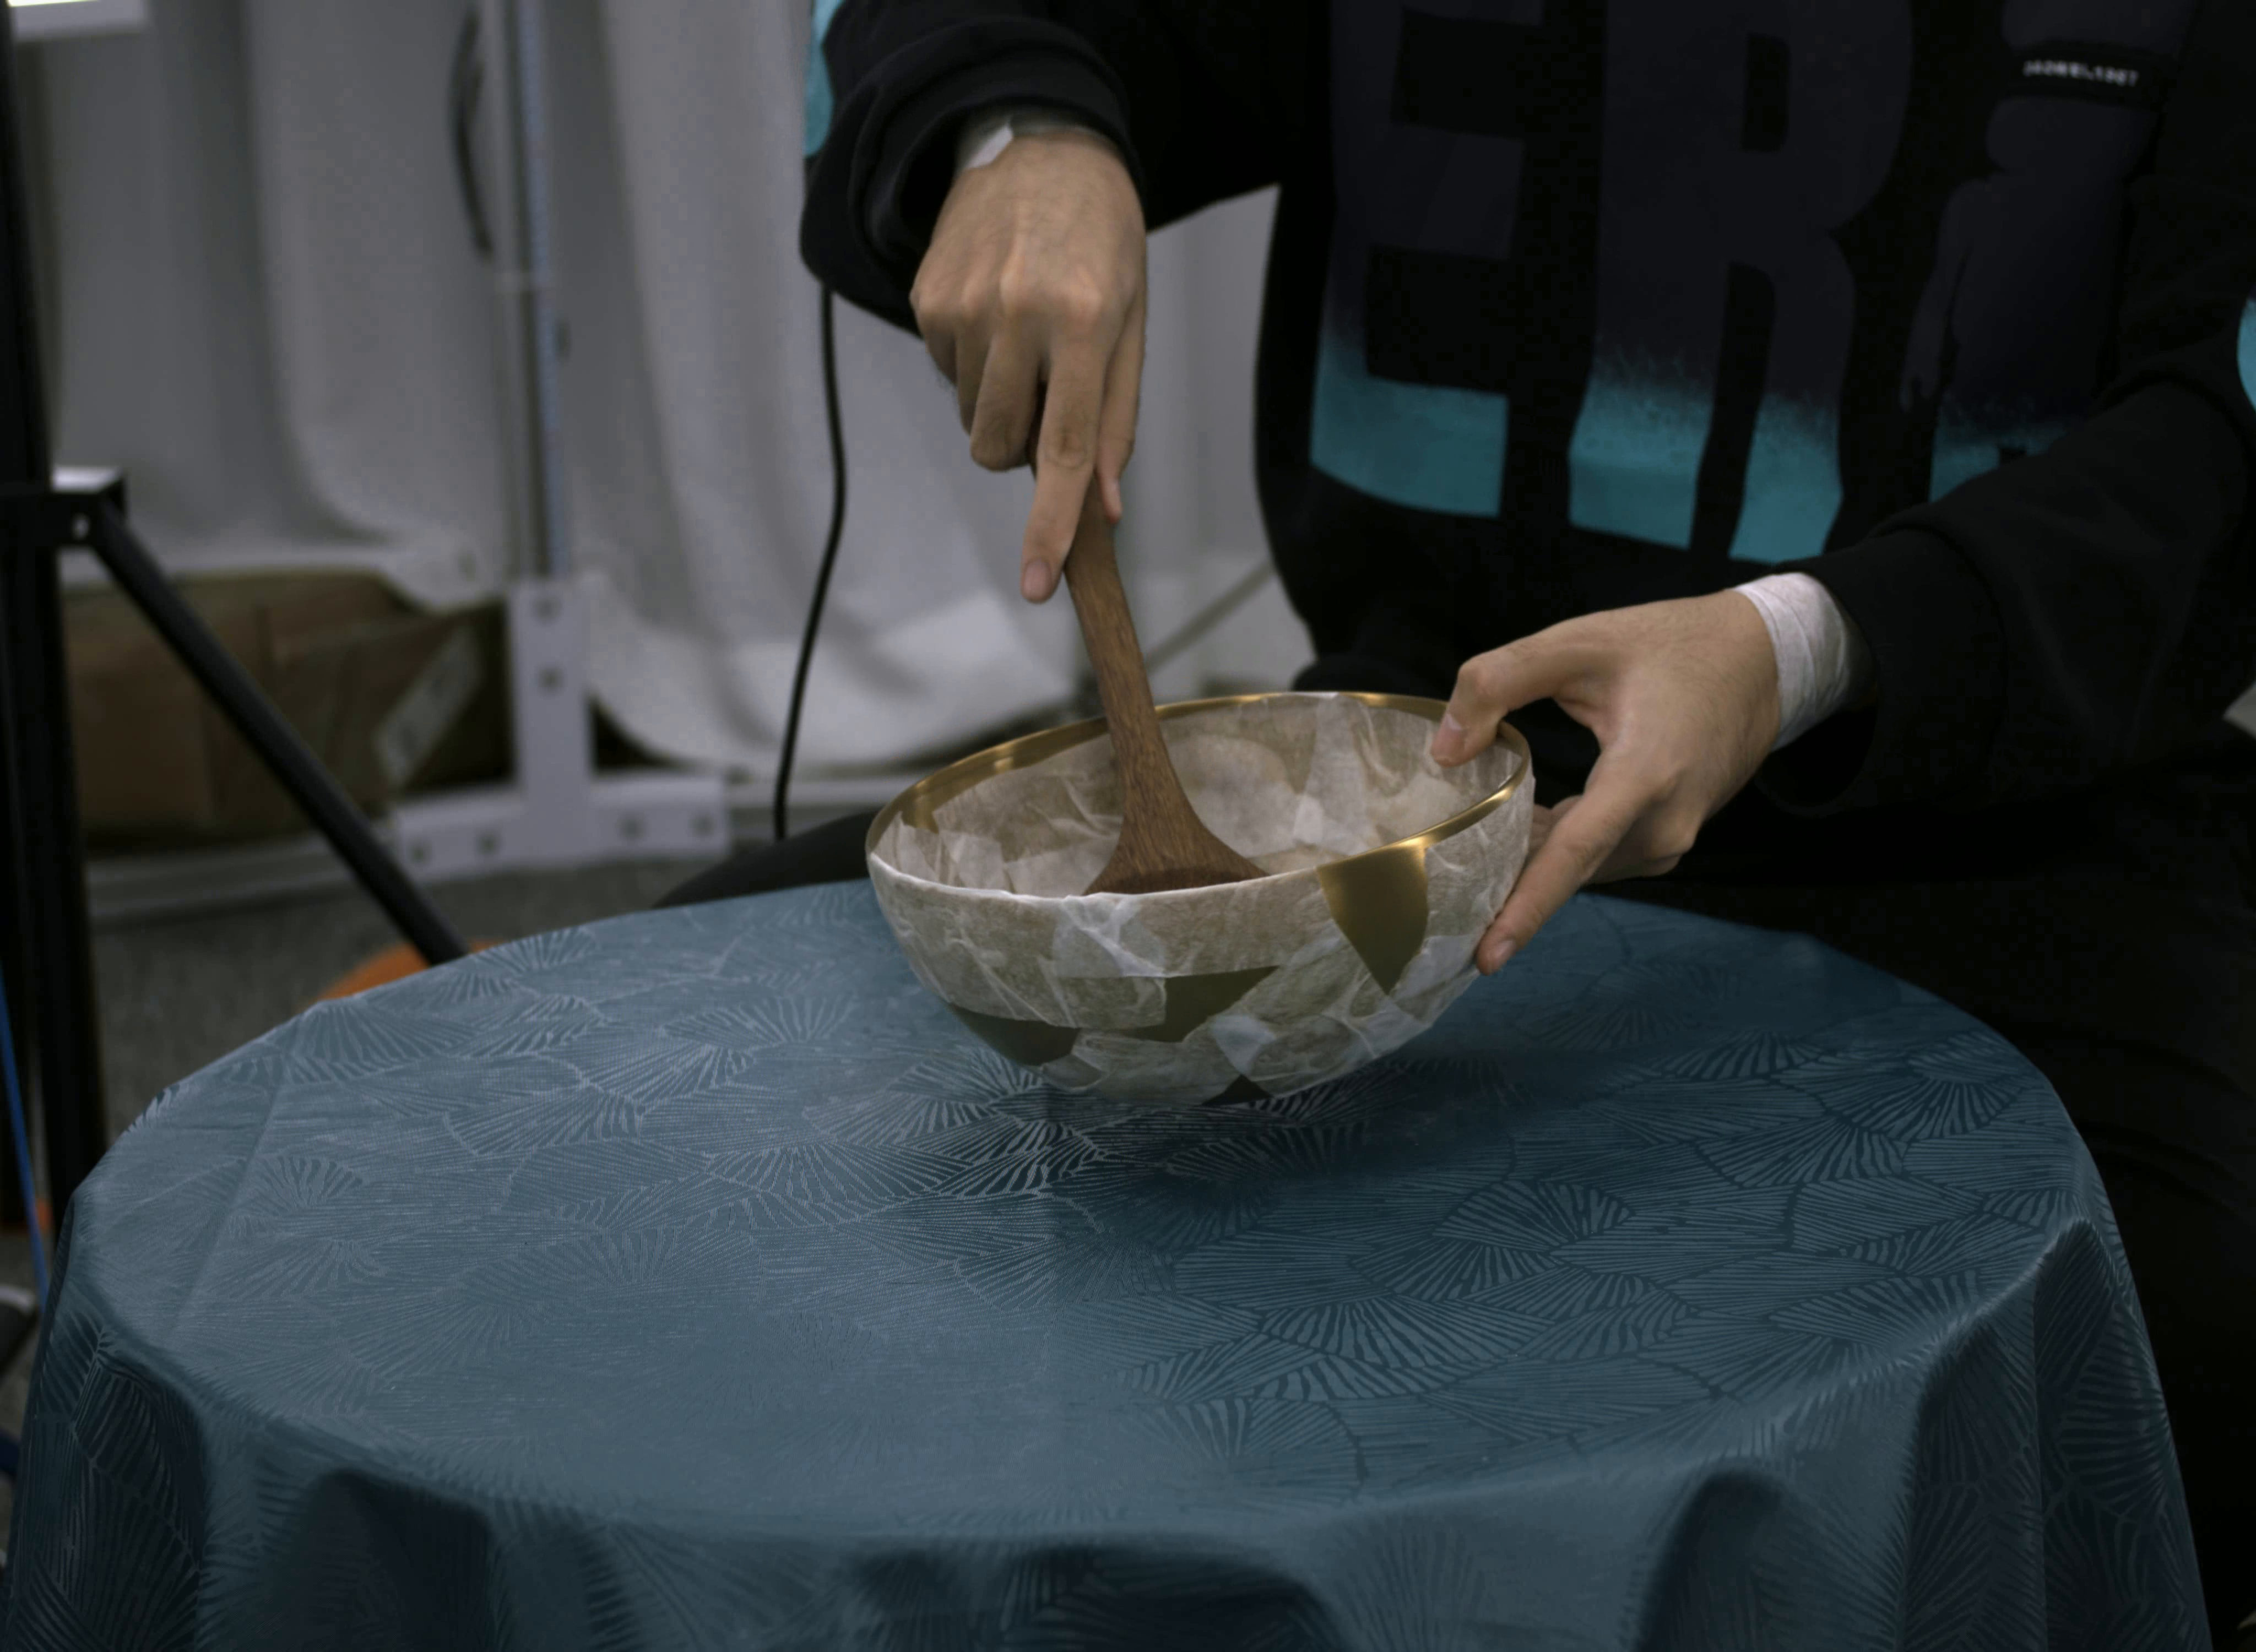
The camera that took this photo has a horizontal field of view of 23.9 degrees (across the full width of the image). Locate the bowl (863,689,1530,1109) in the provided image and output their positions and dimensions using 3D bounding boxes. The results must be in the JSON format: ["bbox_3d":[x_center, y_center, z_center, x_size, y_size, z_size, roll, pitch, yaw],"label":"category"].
[{"bbox_3d":[0.029,0.031,1.606,0.214,0.094,0.216,-8,15,1],"label":"bowl"}]

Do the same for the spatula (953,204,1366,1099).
[{"bbox_3d":[-0.008,-0.066,1.691,0.094,0.016,0.392,-4,50,-13],"label":"spatula"}]
